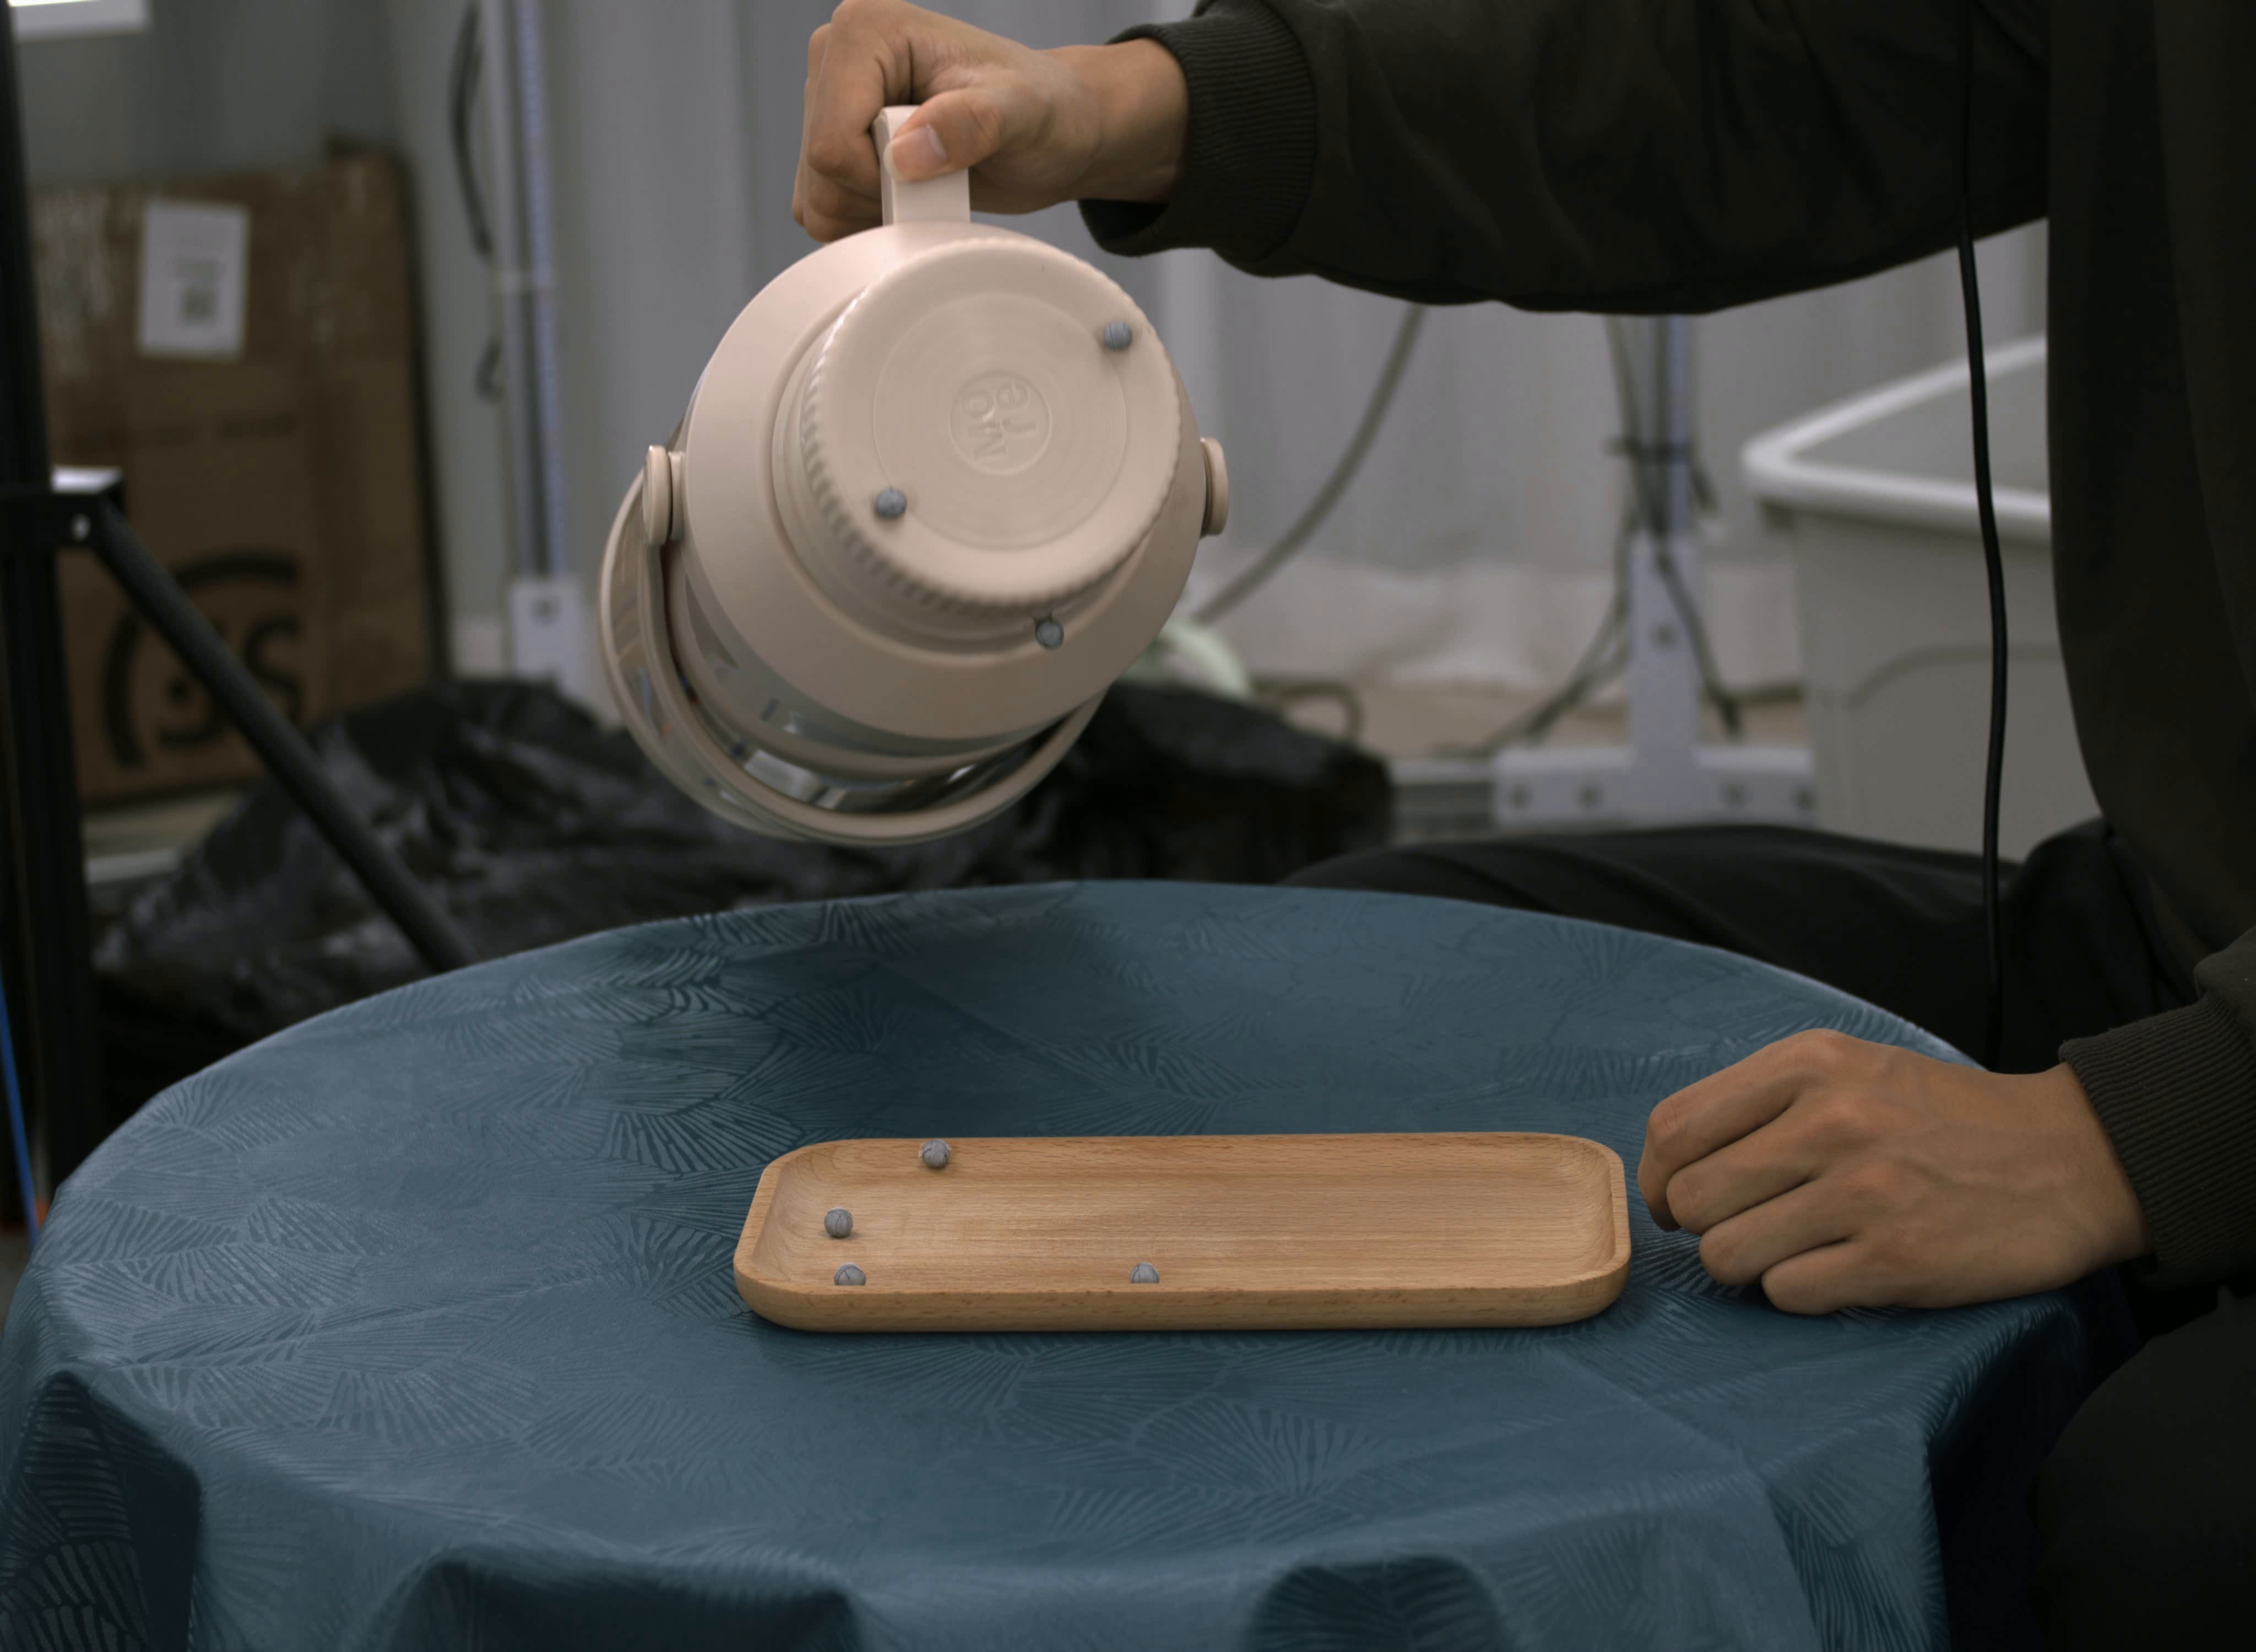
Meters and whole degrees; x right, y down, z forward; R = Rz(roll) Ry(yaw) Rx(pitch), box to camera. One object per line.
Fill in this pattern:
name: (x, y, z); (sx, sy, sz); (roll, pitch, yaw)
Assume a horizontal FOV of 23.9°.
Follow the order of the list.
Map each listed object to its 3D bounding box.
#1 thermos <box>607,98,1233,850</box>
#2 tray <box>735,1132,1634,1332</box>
thermos: (-0.069, -0.107, 1.677); (0.173, 0.208, 0.408); (-2, -6, -9)
tray: (0.017, 0.115, 1.503); (0.251, 0.023, 0.130); (0, 18, 6)
